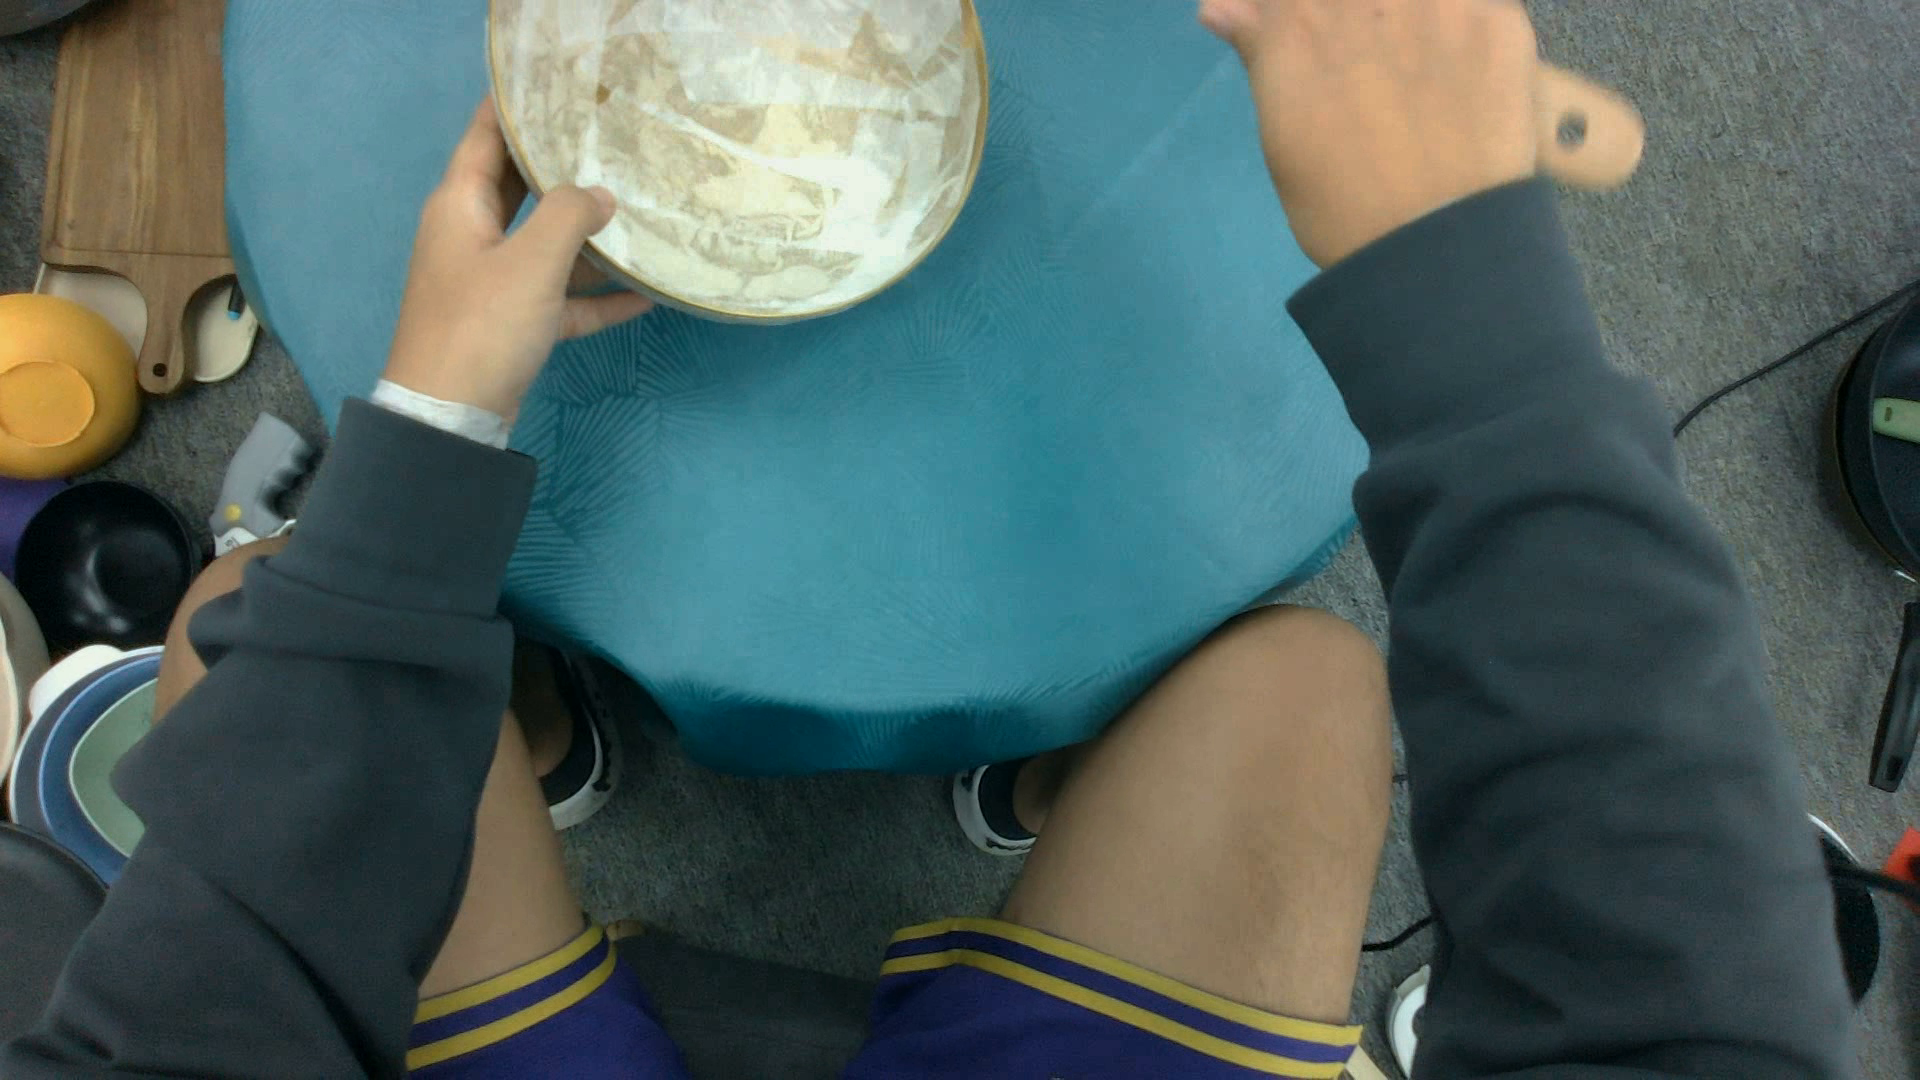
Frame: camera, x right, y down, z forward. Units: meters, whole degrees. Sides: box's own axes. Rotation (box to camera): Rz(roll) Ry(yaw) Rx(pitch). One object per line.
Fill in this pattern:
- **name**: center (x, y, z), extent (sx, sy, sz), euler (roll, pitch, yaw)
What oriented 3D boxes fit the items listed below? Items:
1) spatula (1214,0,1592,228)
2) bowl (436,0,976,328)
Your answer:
- **spatula**: center (0.080, -0.205, 0.479), extent (0.327, 0.016, 0.080), euler (34, 99, 1)
- **bowl**: center (-0.106, -0.186, 0.584), extent (0.215, 0.094, 0.215), euler (1, 86, -21)
